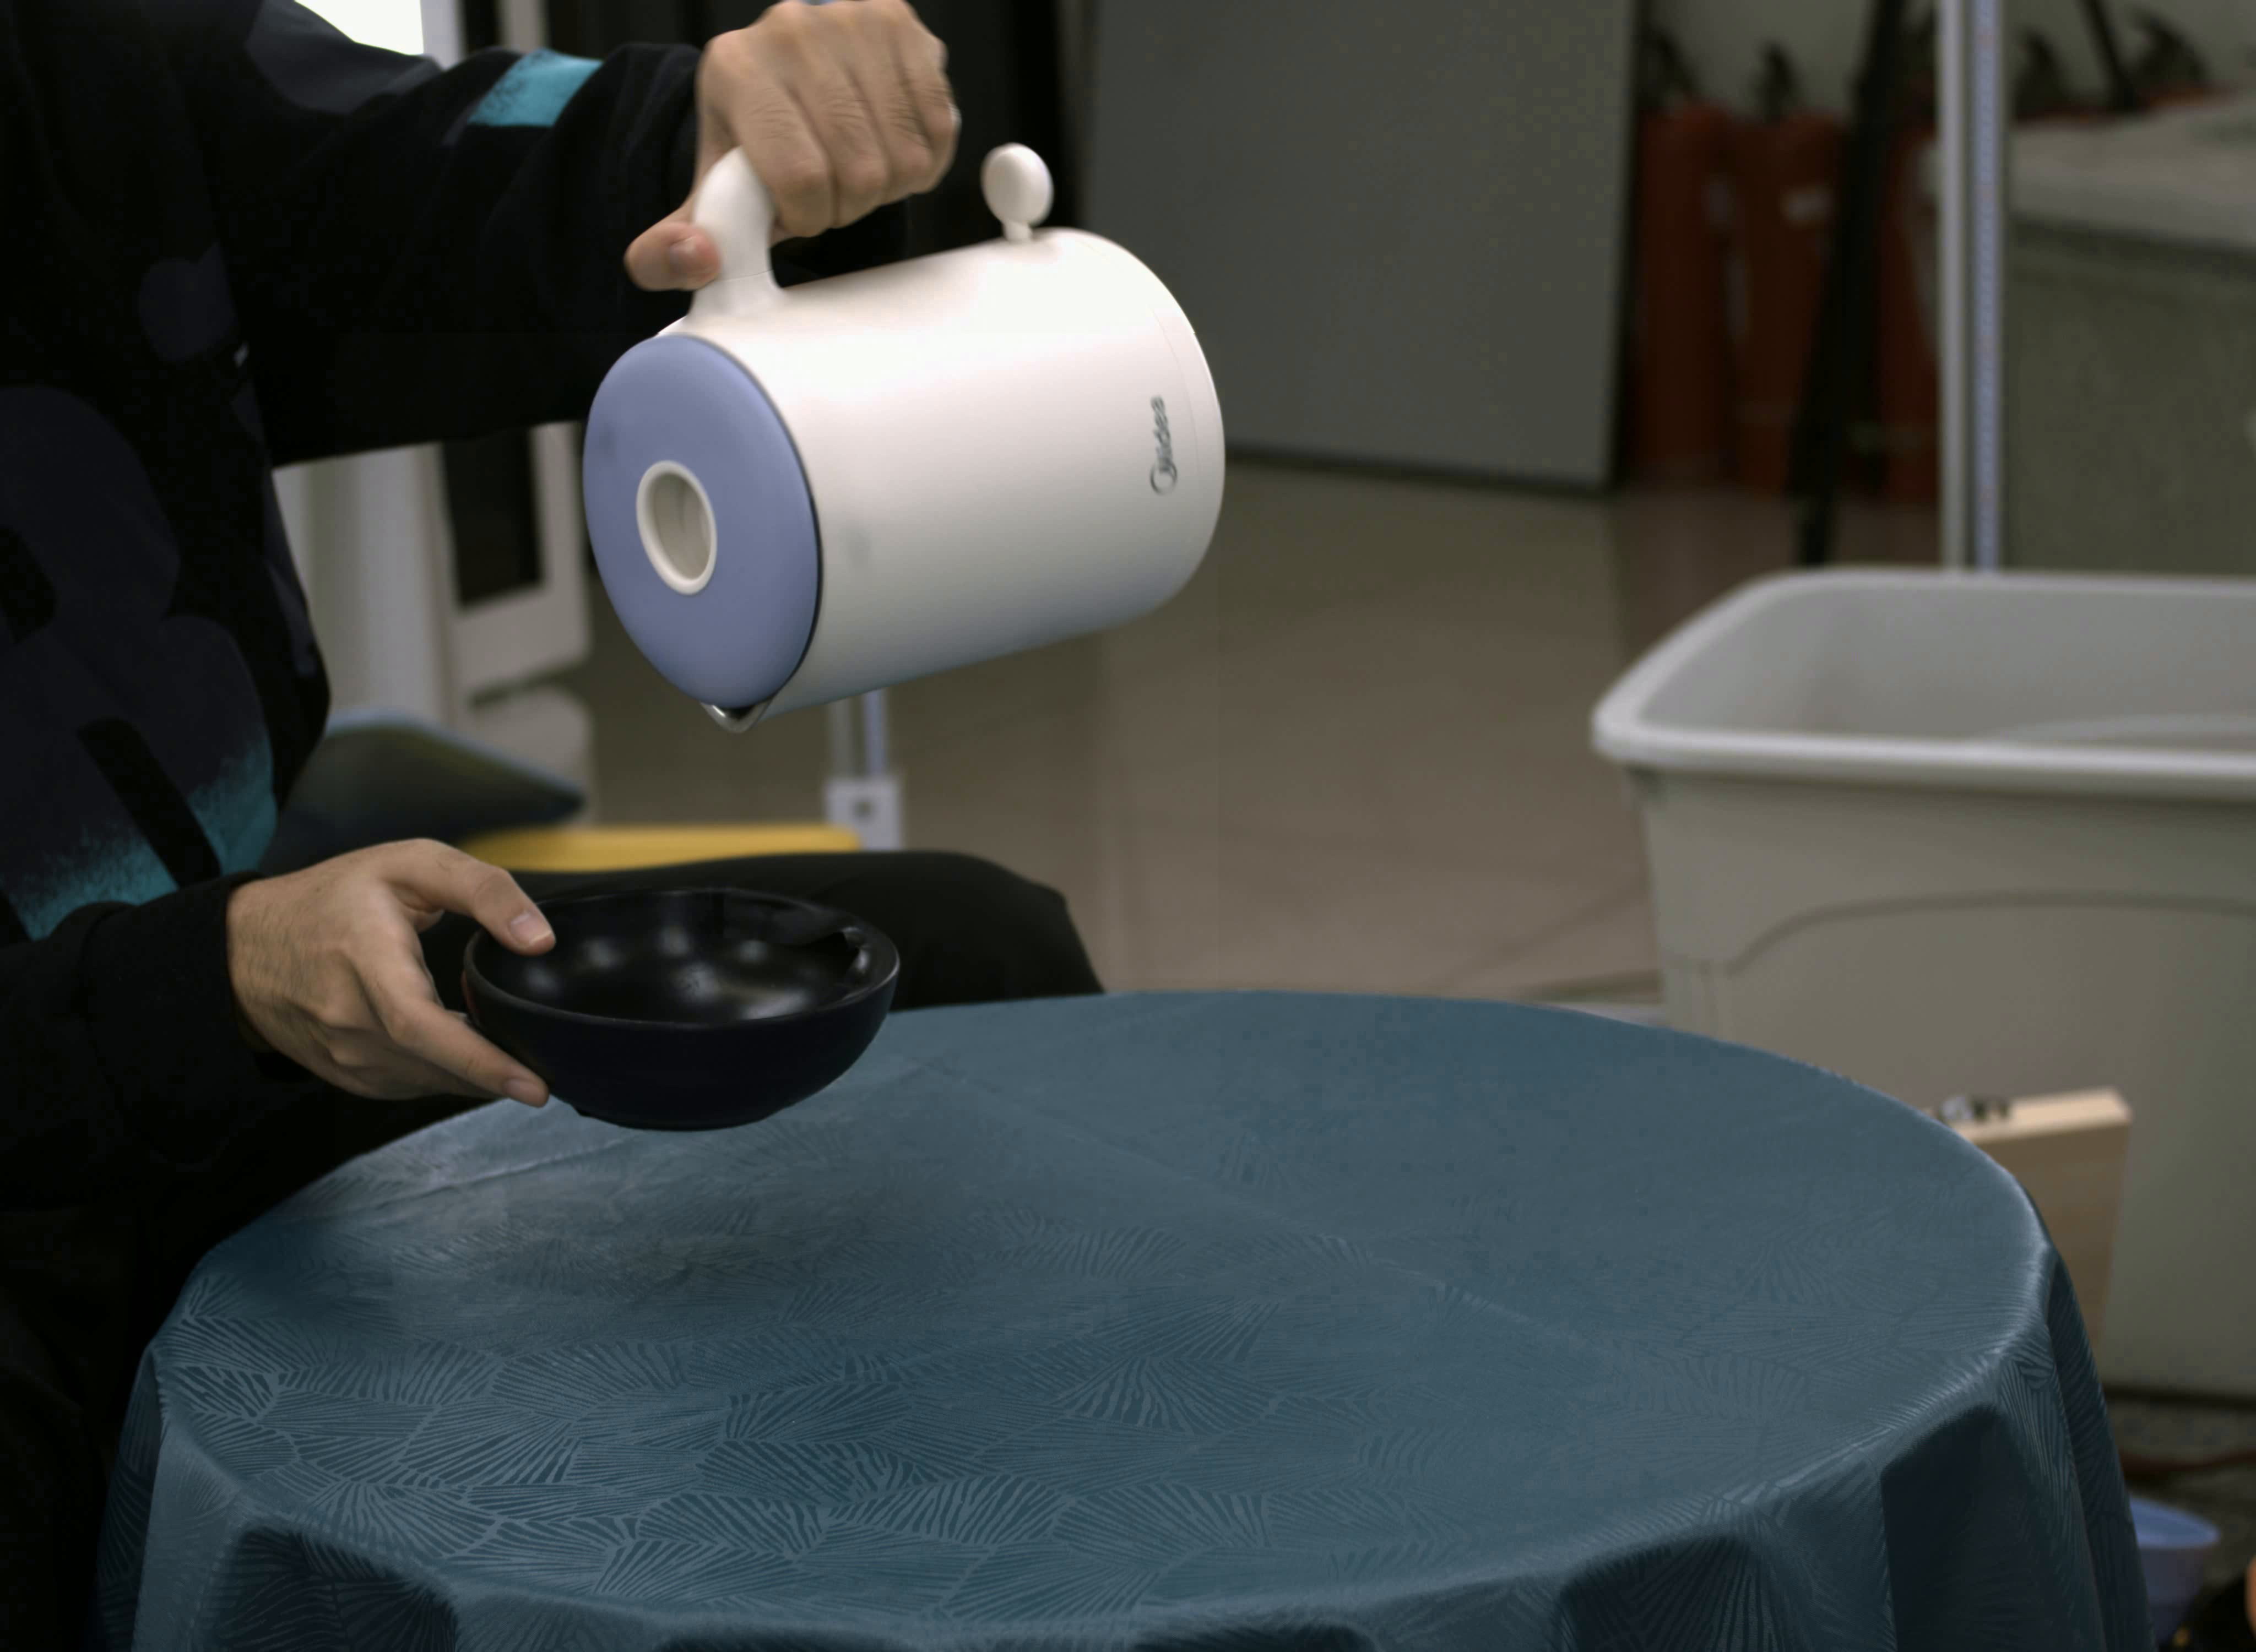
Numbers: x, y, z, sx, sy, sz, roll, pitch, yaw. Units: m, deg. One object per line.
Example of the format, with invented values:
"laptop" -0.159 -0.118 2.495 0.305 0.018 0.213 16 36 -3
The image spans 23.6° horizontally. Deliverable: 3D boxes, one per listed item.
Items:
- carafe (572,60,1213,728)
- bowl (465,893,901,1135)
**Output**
"carafe" -0.078 -0.142 1.711 0.178 0.193 0.133 -16 12 -38
"bowl" -0.140 0.063 1.710 0.138 0.050 0.140 0 15 -1
